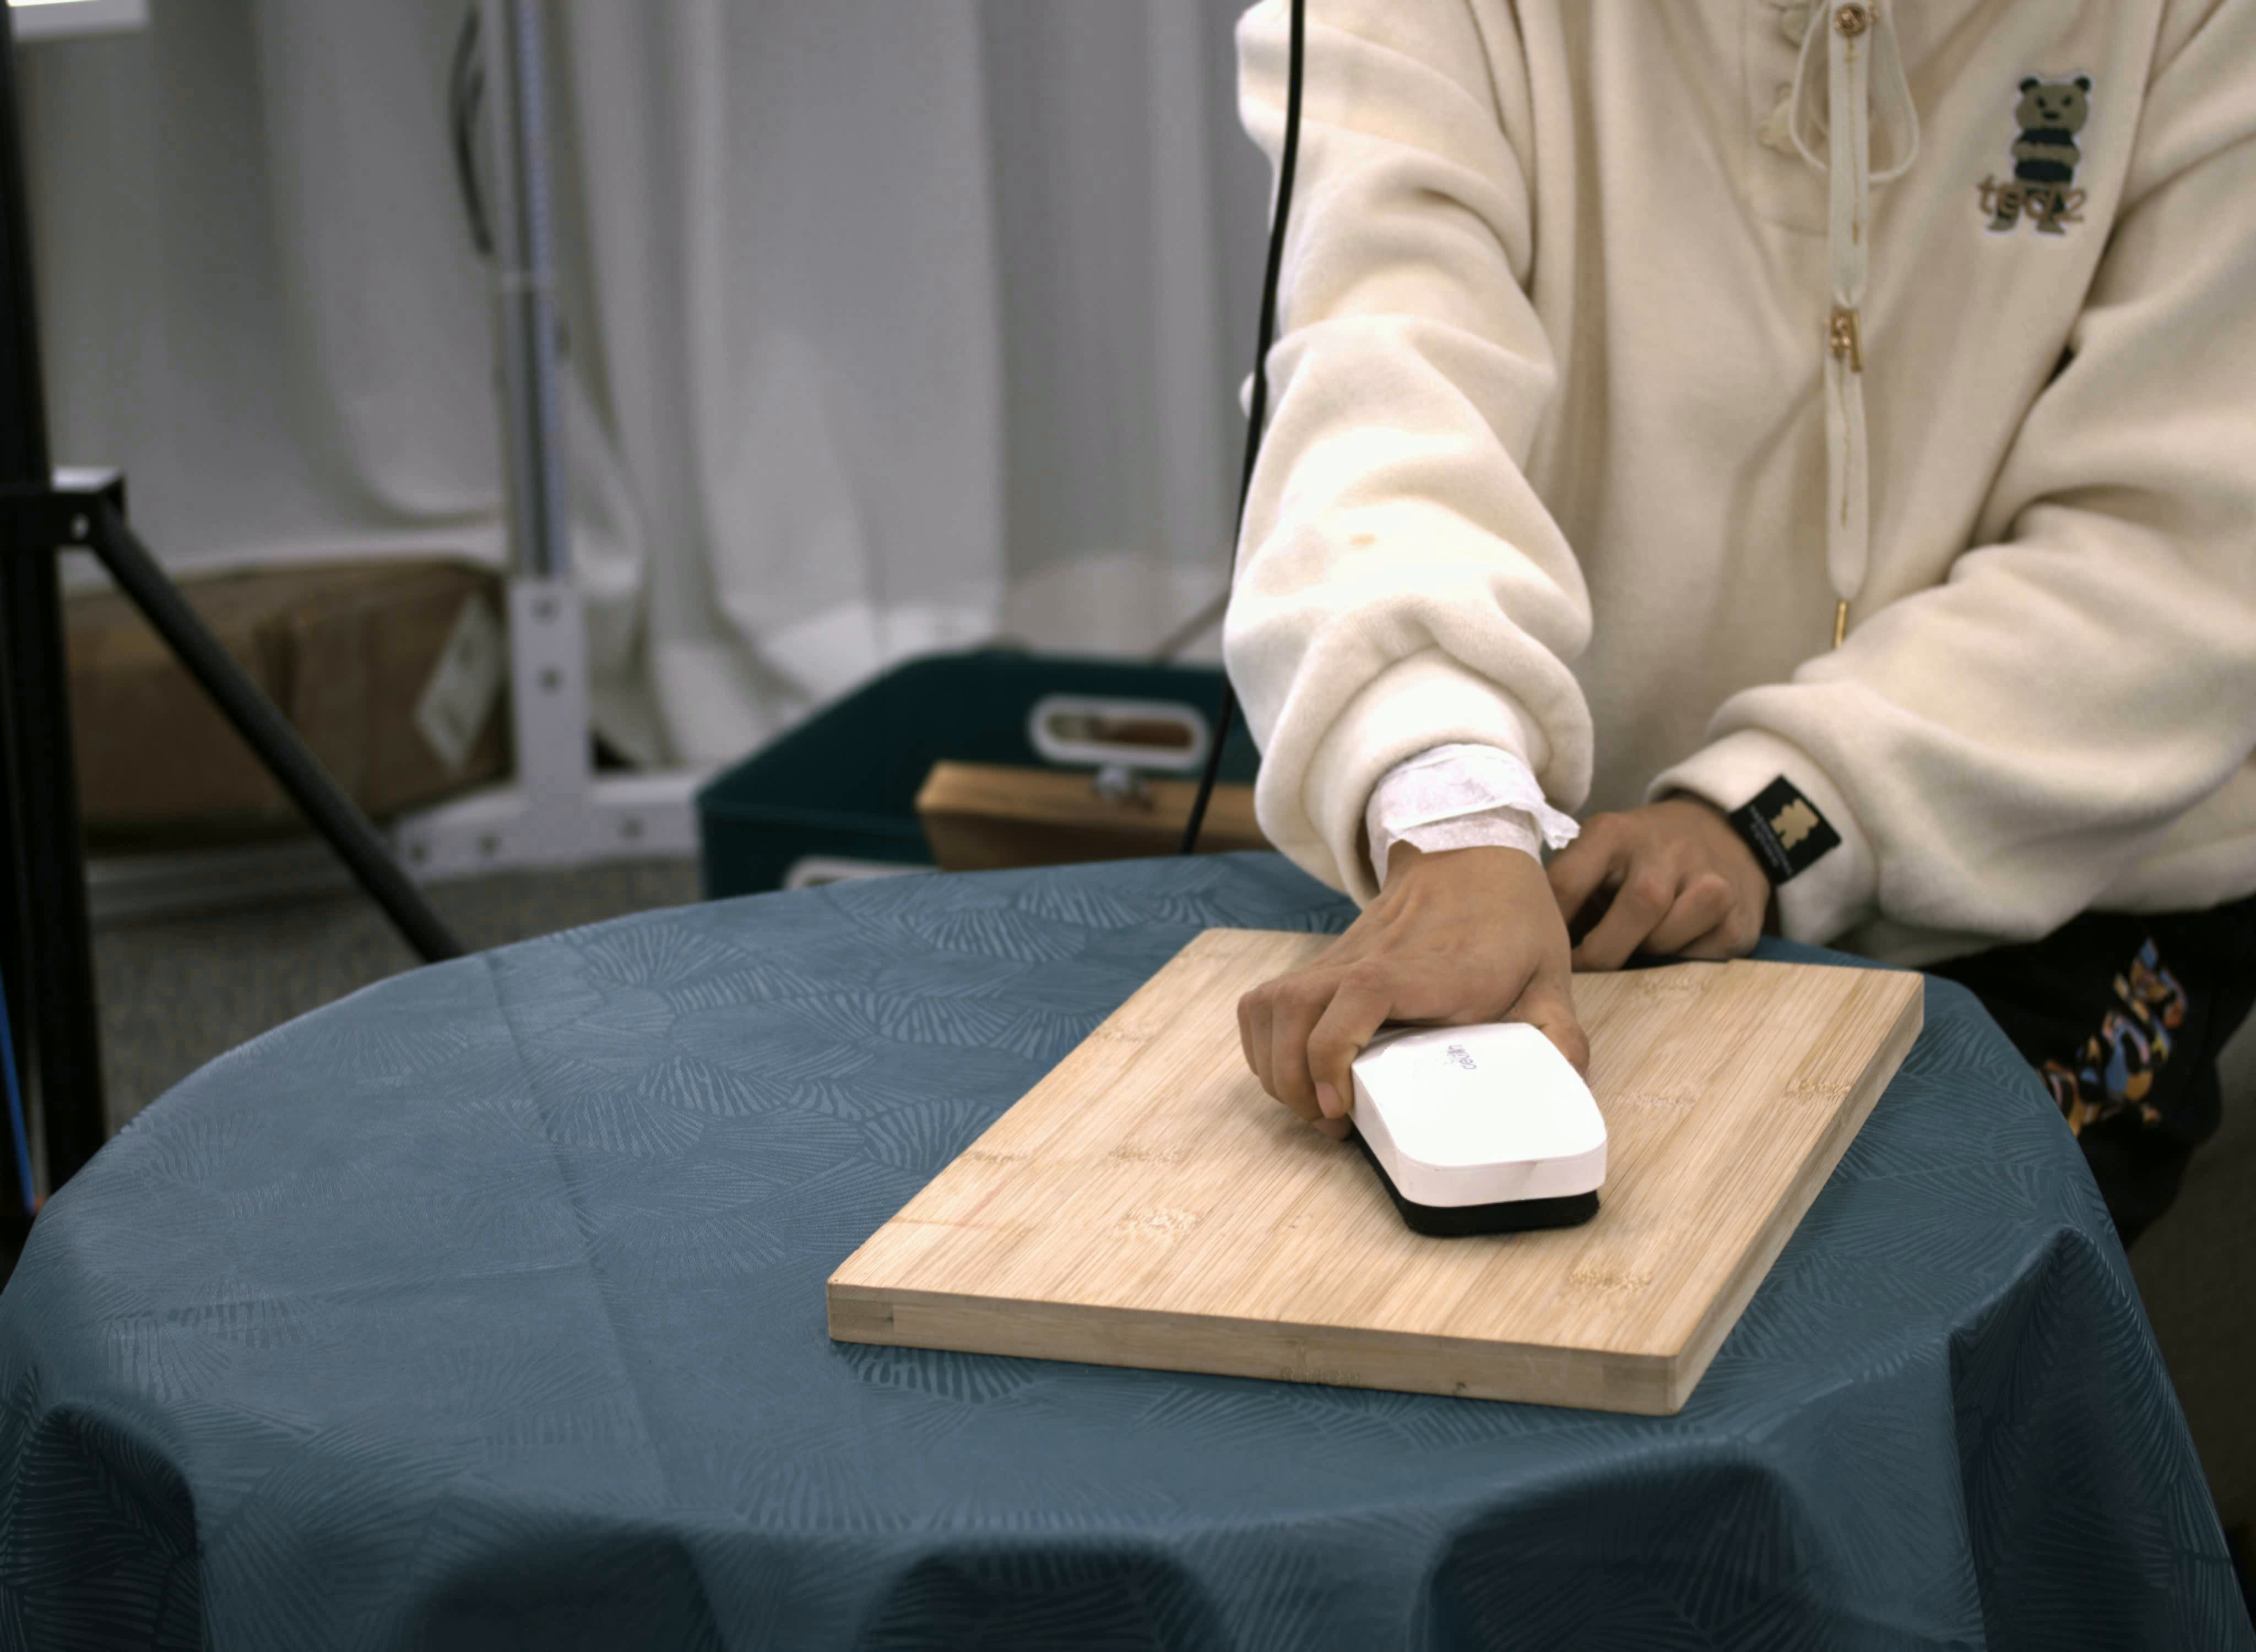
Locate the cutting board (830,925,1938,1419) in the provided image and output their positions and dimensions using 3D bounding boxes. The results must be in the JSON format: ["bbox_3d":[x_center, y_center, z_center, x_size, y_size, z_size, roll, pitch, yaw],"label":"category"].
[{"bbox_3d":[0.087,0.094,1.565,0.253,0.023,0.345,3,17,19],"label":"cutting board"}]

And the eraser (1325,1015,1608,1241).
[{"bbox_3d":[0.097,0.082,1.513,0.063,0.034,0.132,-4,16,-7],"label":"eraser"}]
